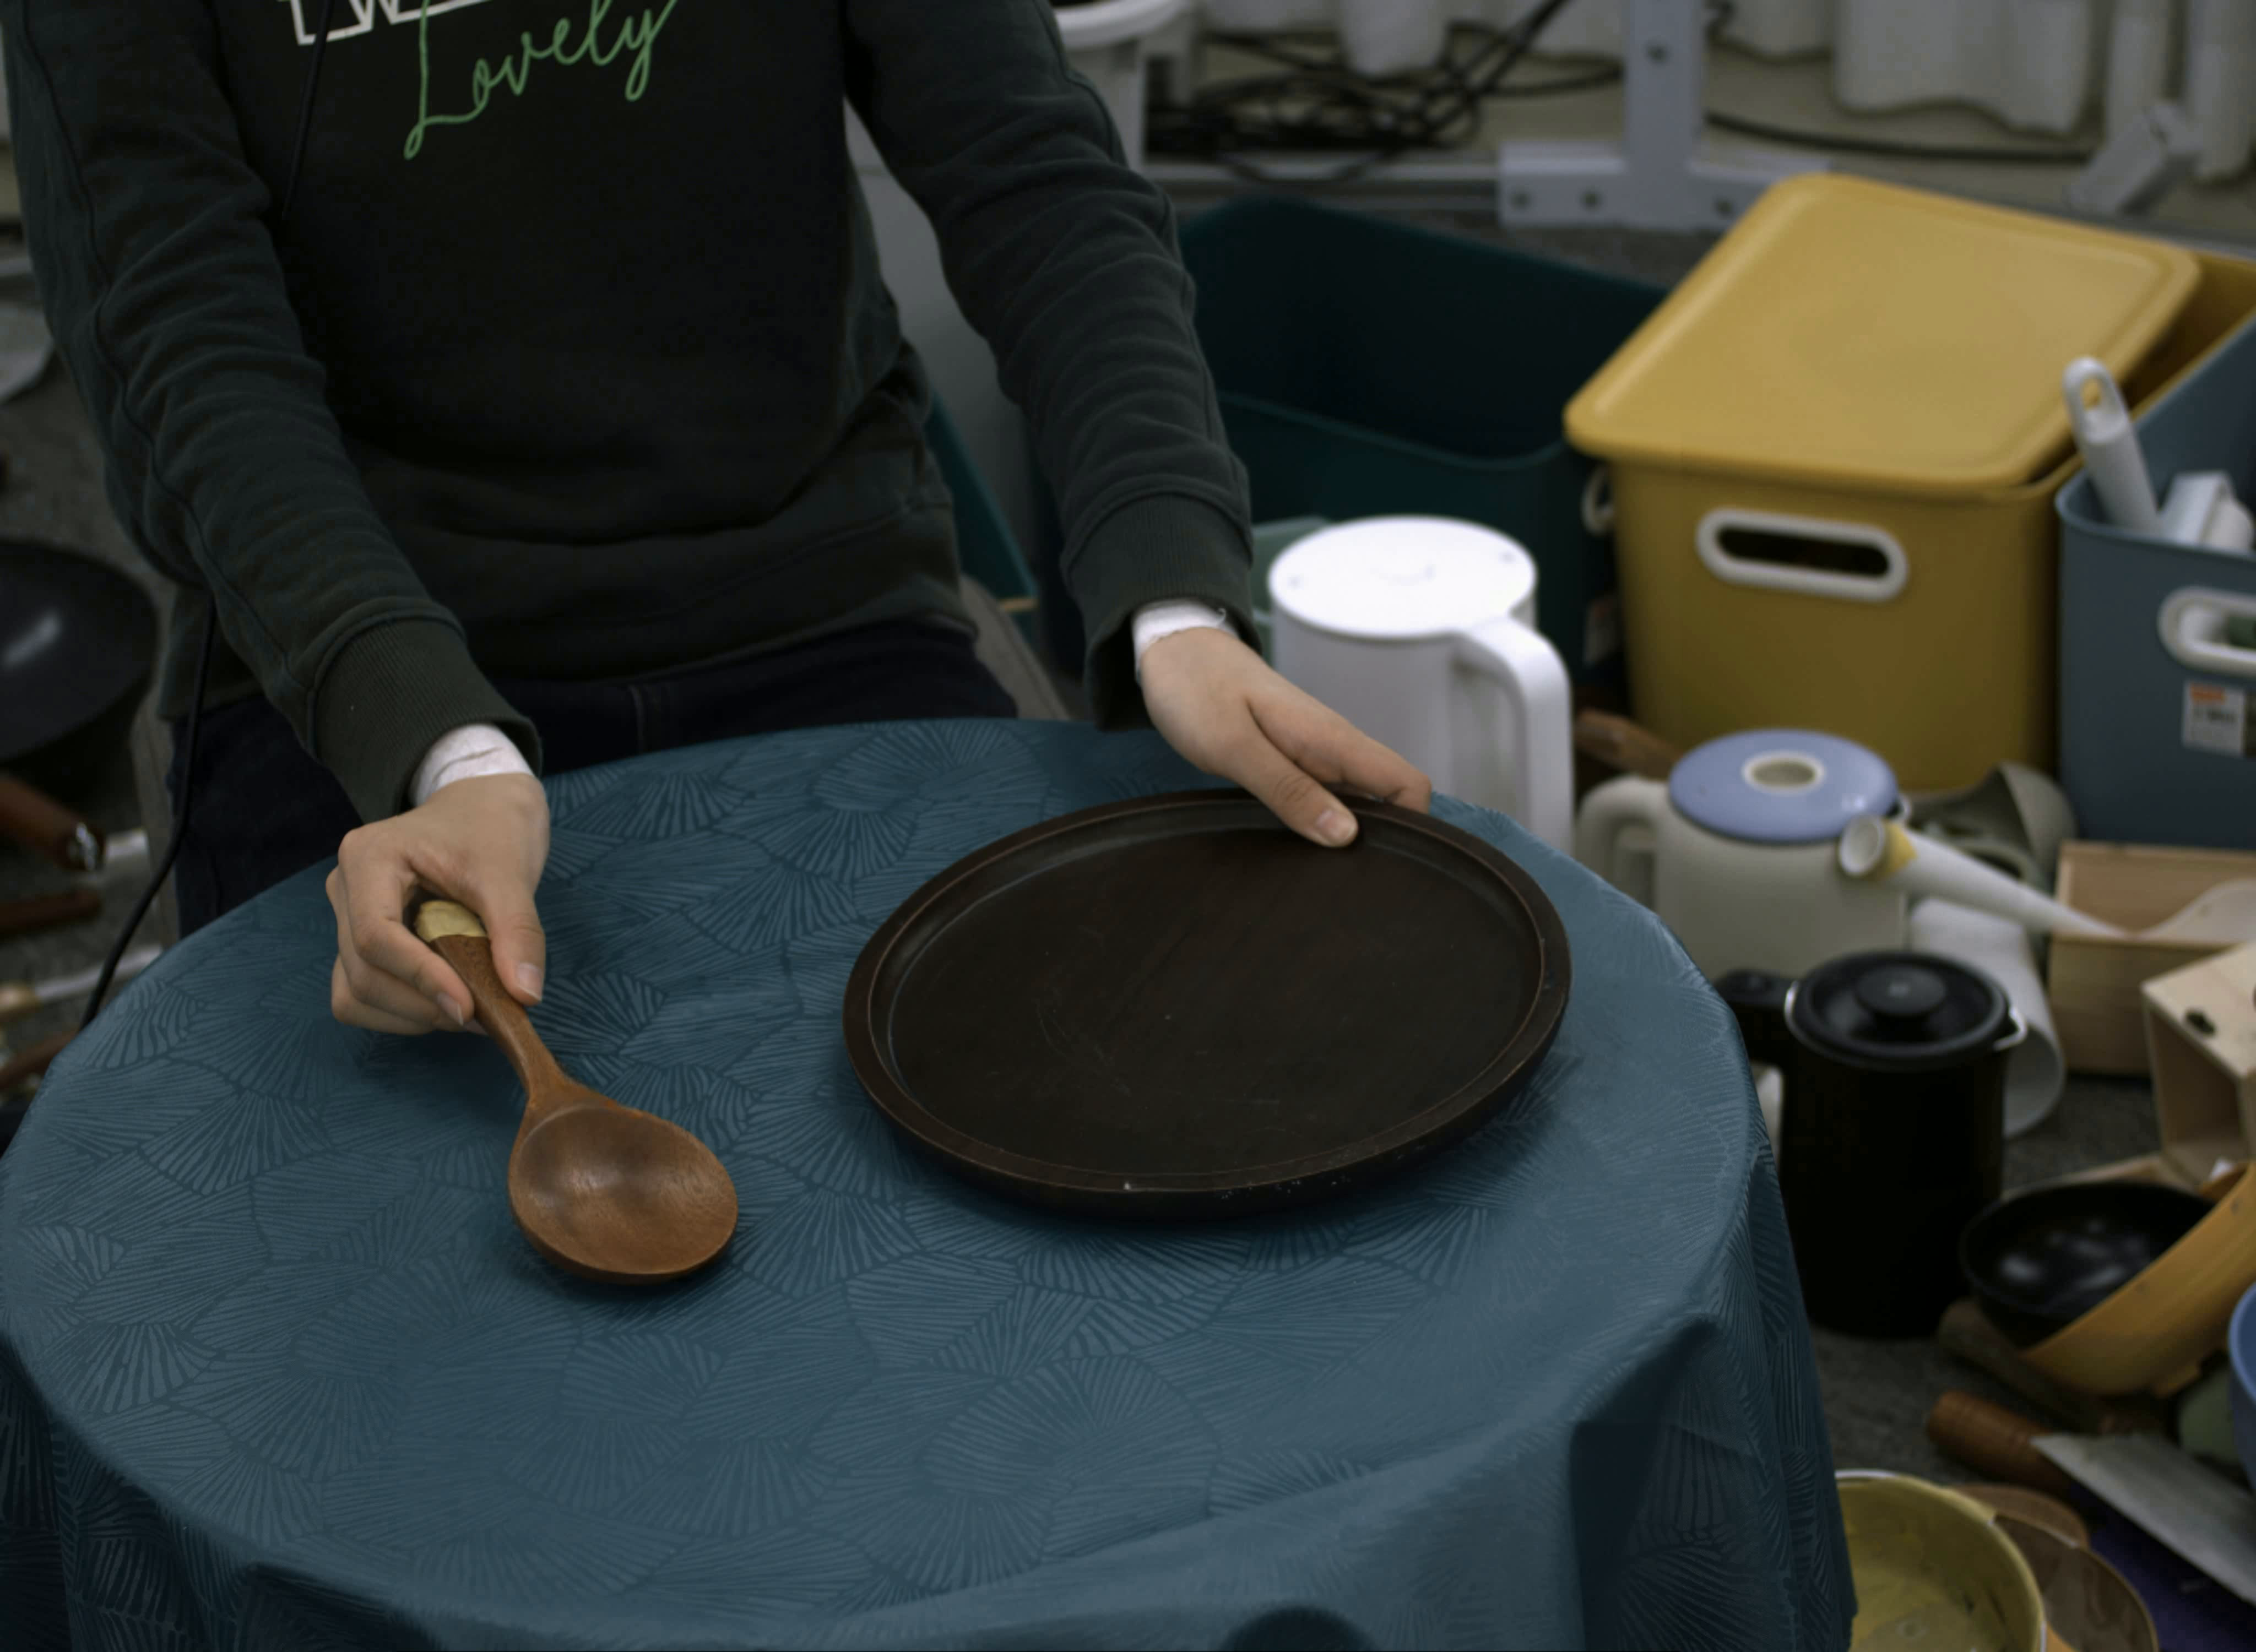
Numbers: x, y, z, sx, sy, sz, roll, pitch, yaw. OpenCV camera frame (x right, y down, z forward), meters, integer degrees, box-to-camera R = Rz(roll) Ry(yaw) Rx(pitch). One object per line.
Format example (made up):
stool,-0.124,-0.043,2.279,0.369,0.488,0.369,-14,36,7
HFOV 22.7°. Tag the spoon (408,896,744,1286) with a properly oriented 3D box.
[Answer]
spoon,-0.194,0.089,1.891,0.076,0.017,0.218,-12,40,-25

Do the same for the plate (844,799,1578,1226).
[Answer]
plate,0.028,0.062,1.933,0.253,0.028,0.259,-3,32,2
